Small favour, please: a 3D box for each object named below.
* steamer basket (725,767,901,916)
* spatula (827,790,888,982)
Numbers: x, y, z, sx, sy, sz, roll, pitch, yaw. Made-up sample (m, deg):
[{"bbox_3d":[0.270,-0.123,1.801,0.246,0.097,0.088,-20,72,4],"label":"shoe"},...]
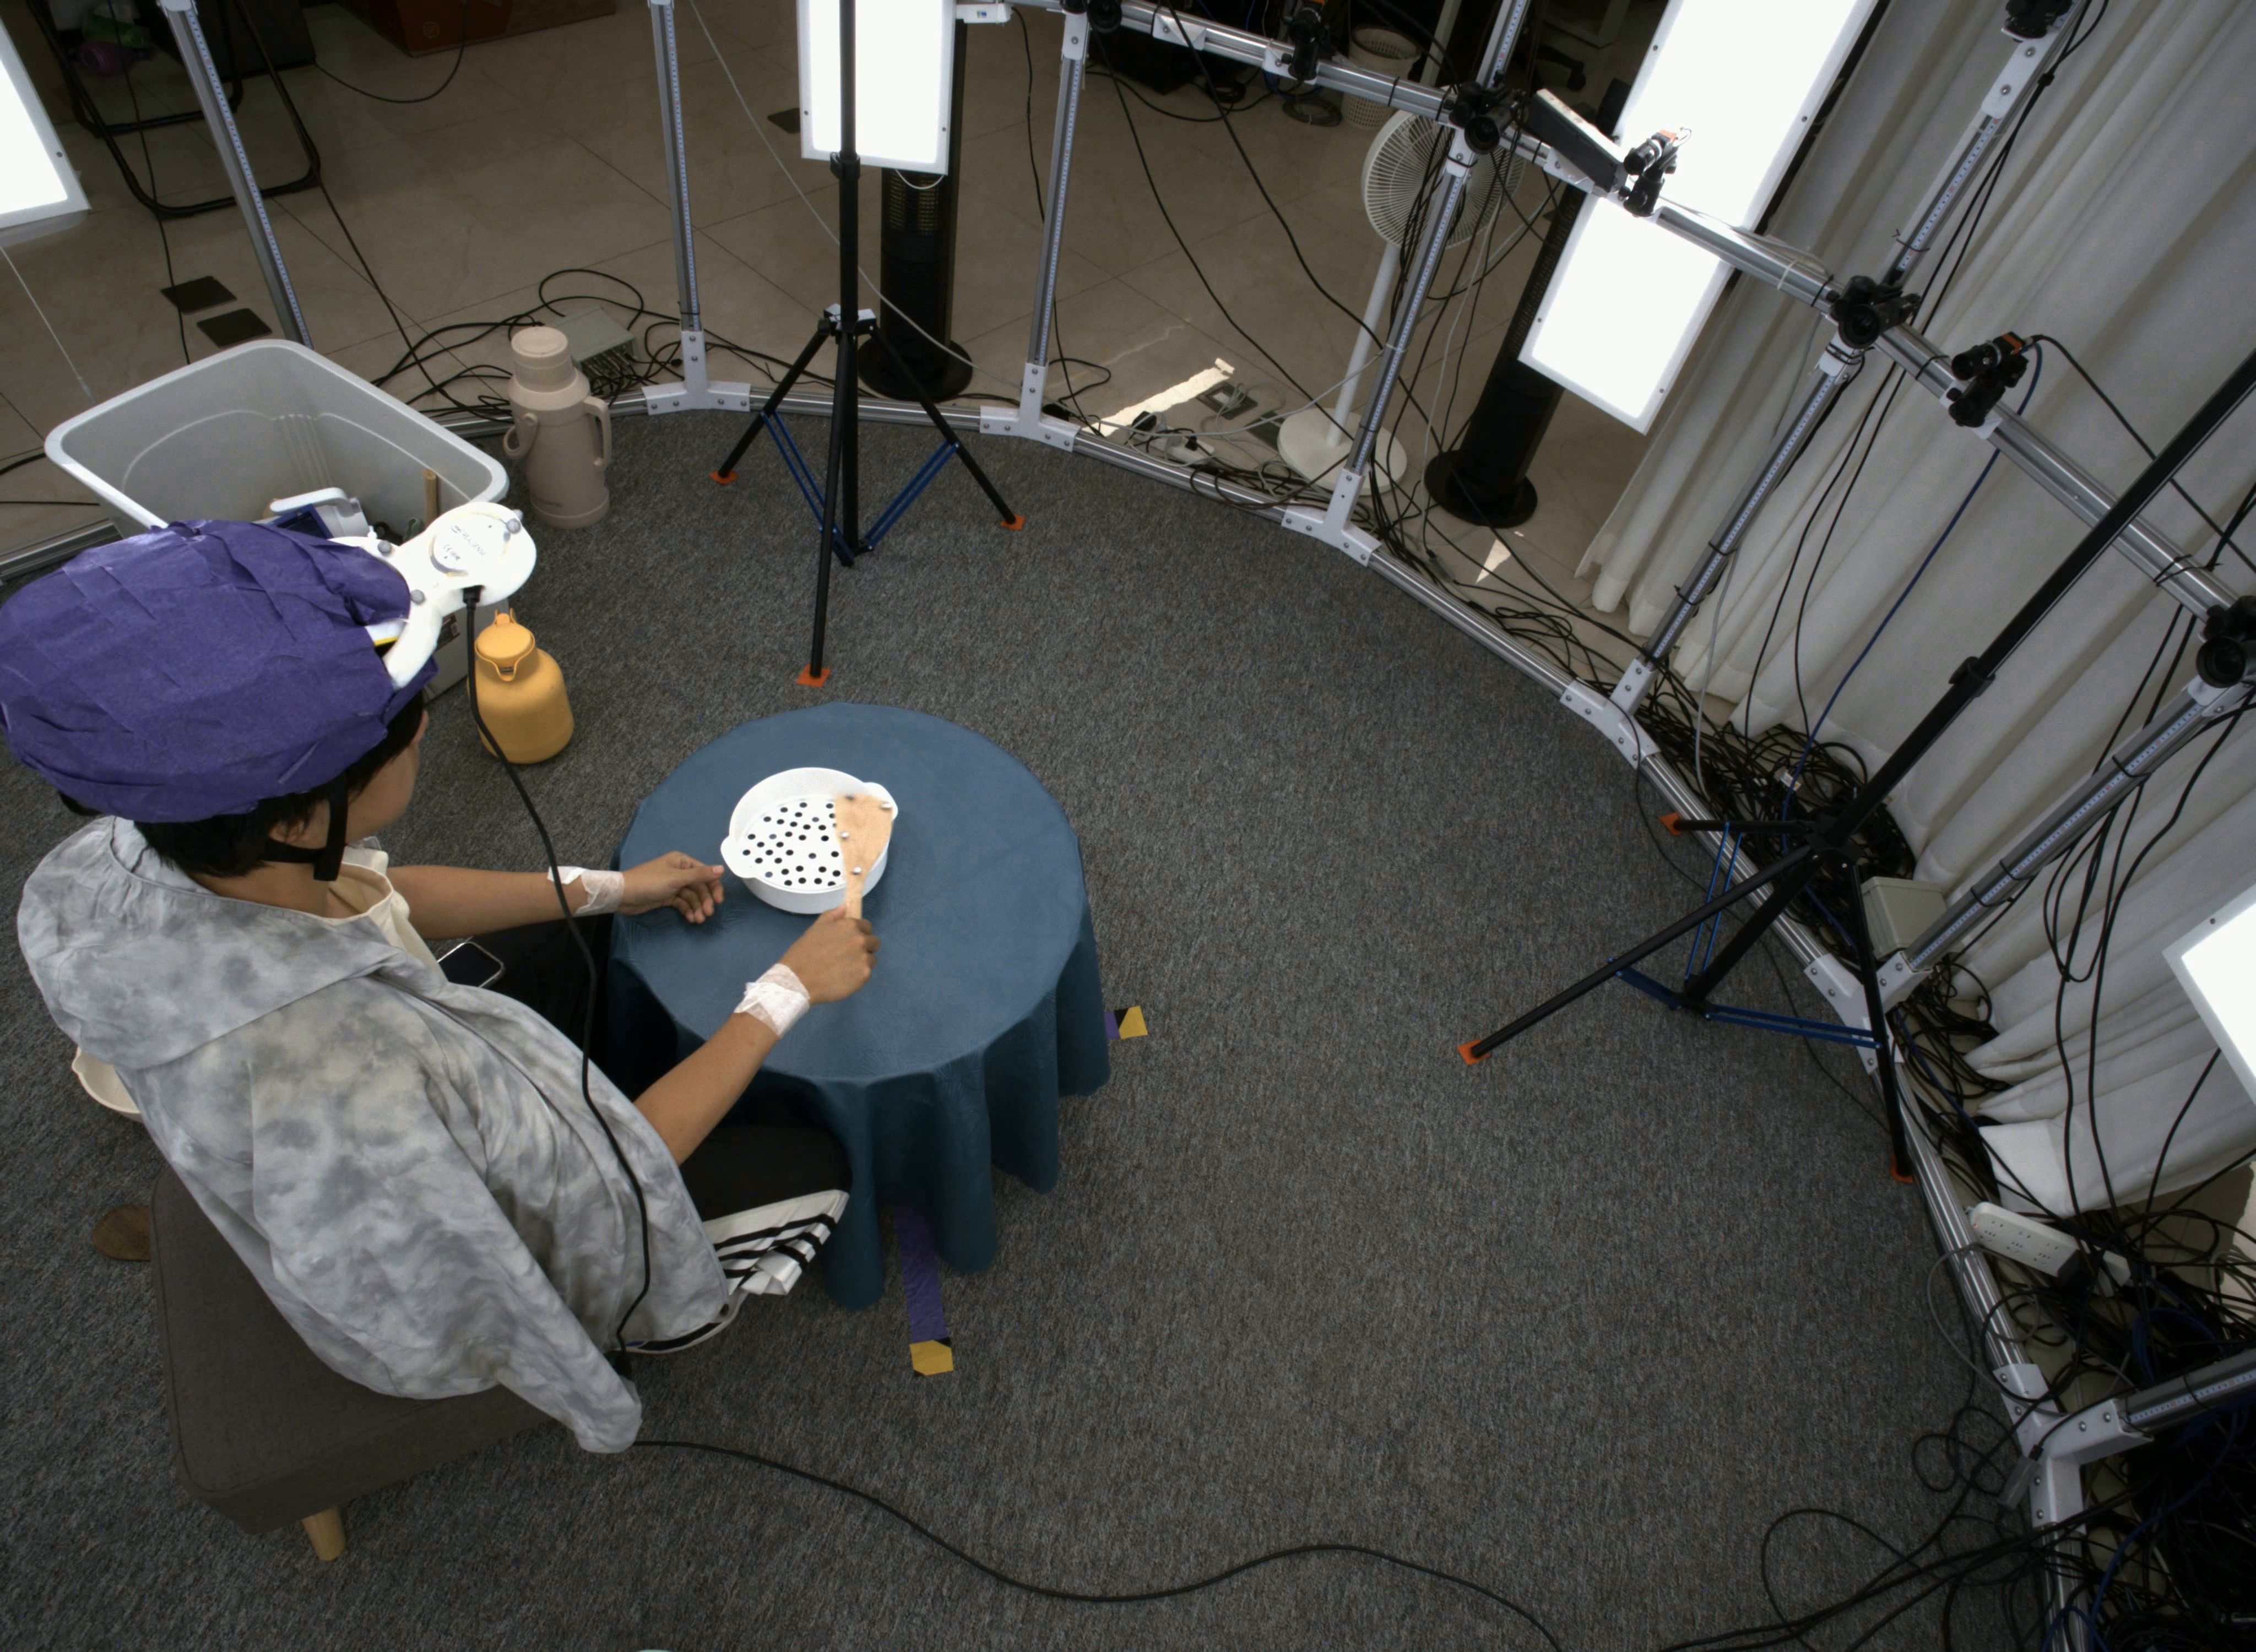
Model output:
[{"bbox_3d":[-0.403,0.019,1.675,0.231,0.071,0.196,-25,61,-27],"label":"steamer basket"},{"bbox_3d":[-0.327,0.062,1.538,0.081,0.016,0.319,21,33,-24],"label":"spatula"}]
